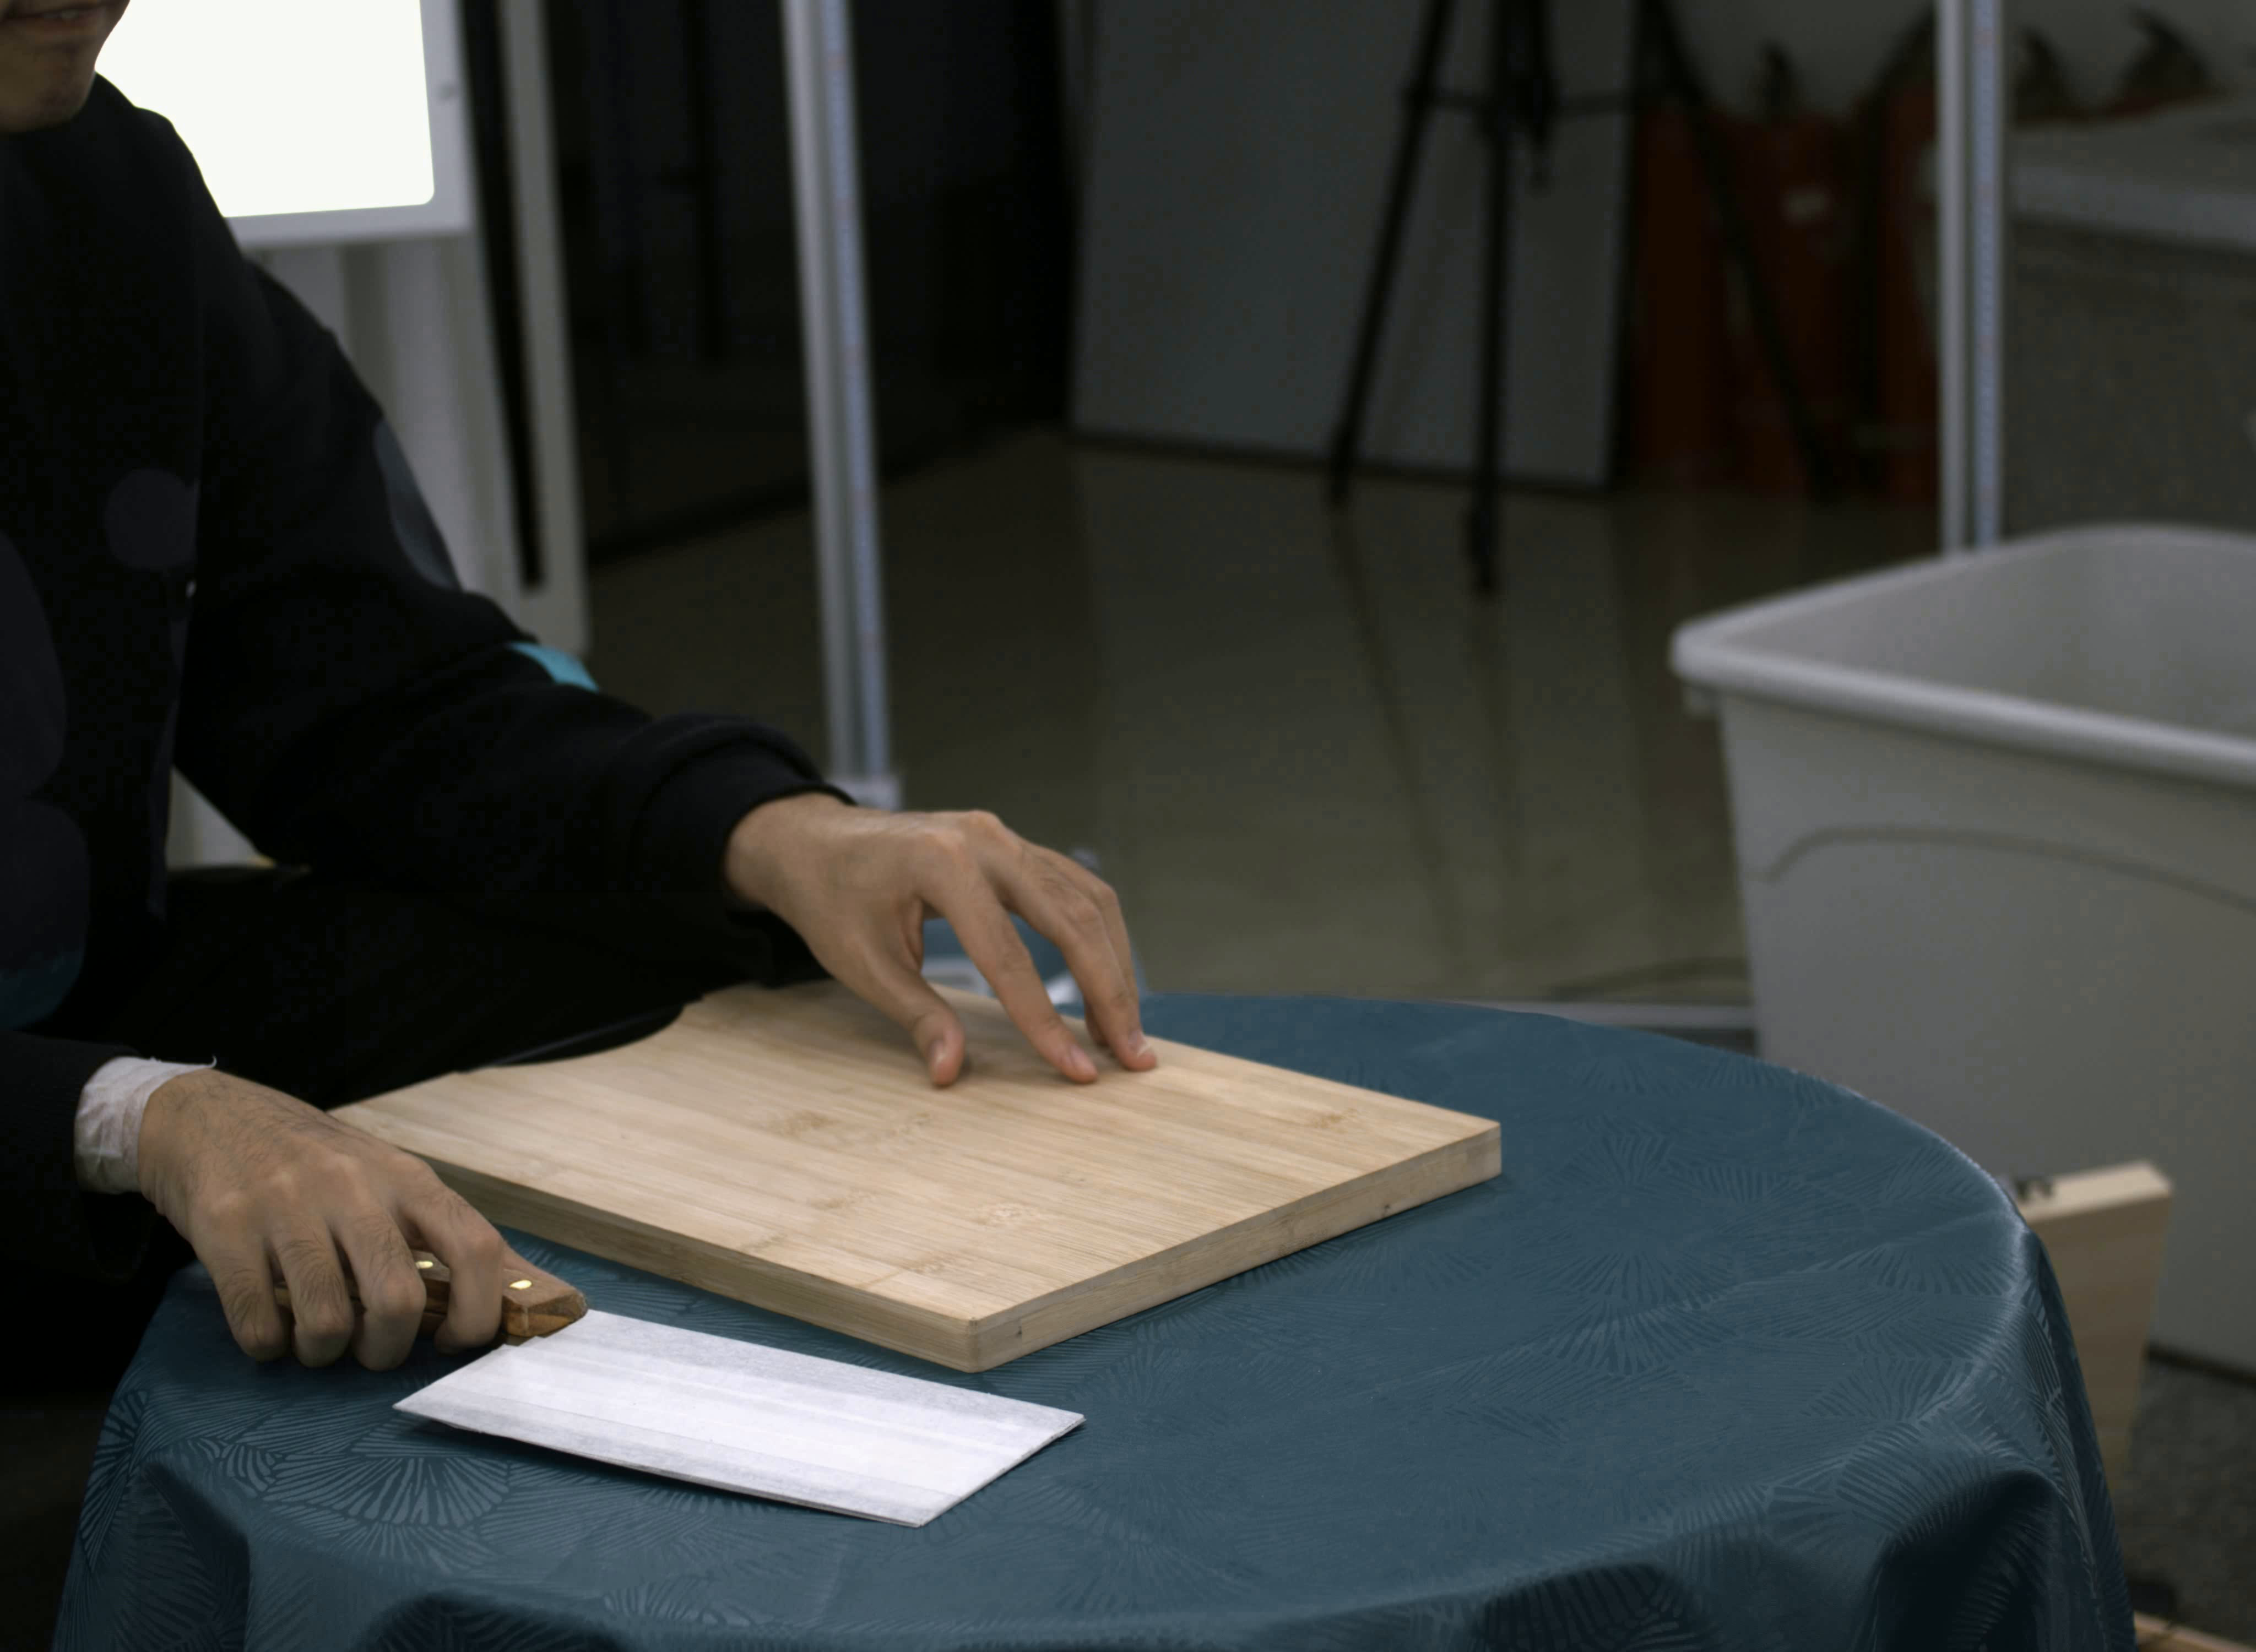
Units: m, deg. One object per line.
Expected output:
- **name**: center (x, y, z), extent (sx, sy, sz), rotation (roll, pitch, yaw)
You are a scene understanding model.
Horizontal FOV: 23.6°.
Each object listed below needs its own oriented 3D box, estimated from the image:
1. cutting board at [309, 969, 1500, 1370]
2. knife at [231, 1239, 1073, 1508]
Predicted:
- **cutting board**: center (-0.079, 0.109, 1.811), extent (0.245, 0.024, 0.352), rotation (-16, 18, -41)
- **knife**: center (-0.161, 0.165, 1.609), extent (0.307, 0.021, 0.091), rotation (8, 20, 33)
